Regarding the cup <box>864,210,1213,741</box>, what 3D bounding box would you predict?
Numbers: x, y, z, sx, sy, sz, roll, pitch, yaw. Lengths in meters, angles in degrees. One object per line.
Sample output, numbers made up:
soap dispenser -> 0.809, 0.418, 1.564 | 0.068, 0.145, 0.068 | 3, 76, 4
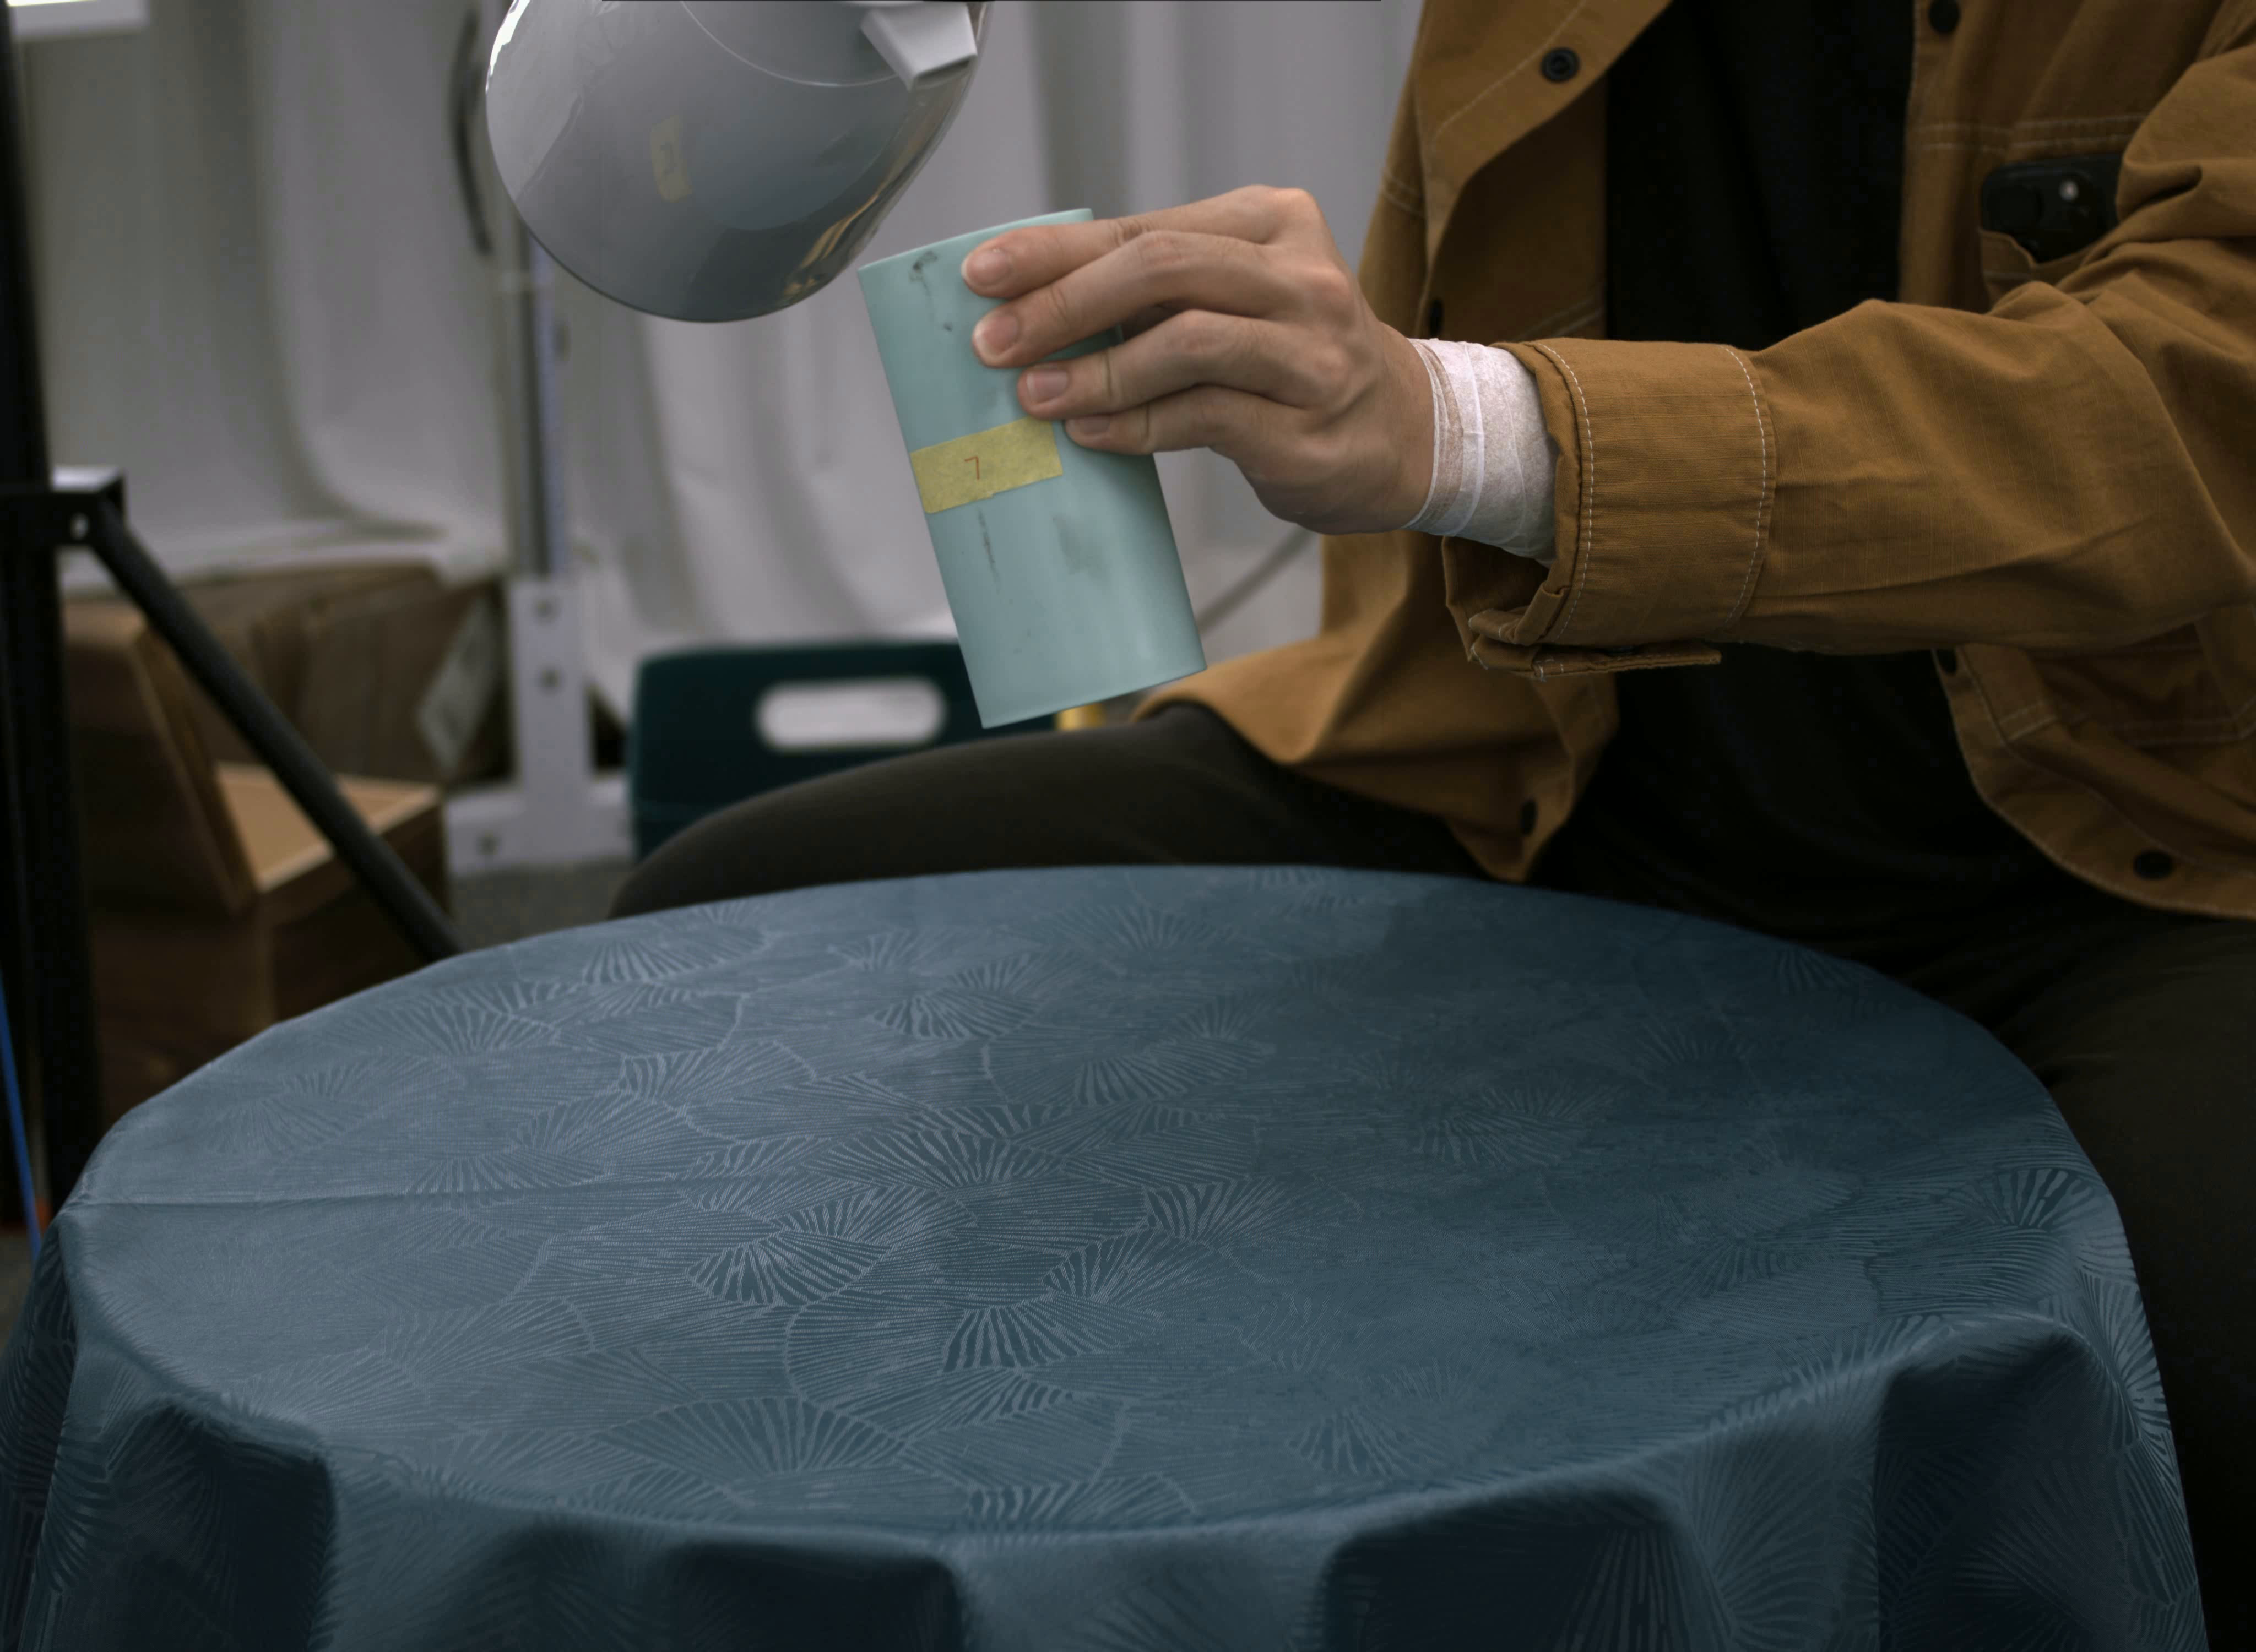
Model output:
cup -> -0.023, -0.095, 1.452 | 0.066, 0.133, 0.067 | -15, 2, -1

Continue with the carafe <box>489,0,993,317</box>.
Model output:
carafe -> -0.110, -0.262, 1.554 | 0.131, 0.169, 0.250 | -23, -5, -18
